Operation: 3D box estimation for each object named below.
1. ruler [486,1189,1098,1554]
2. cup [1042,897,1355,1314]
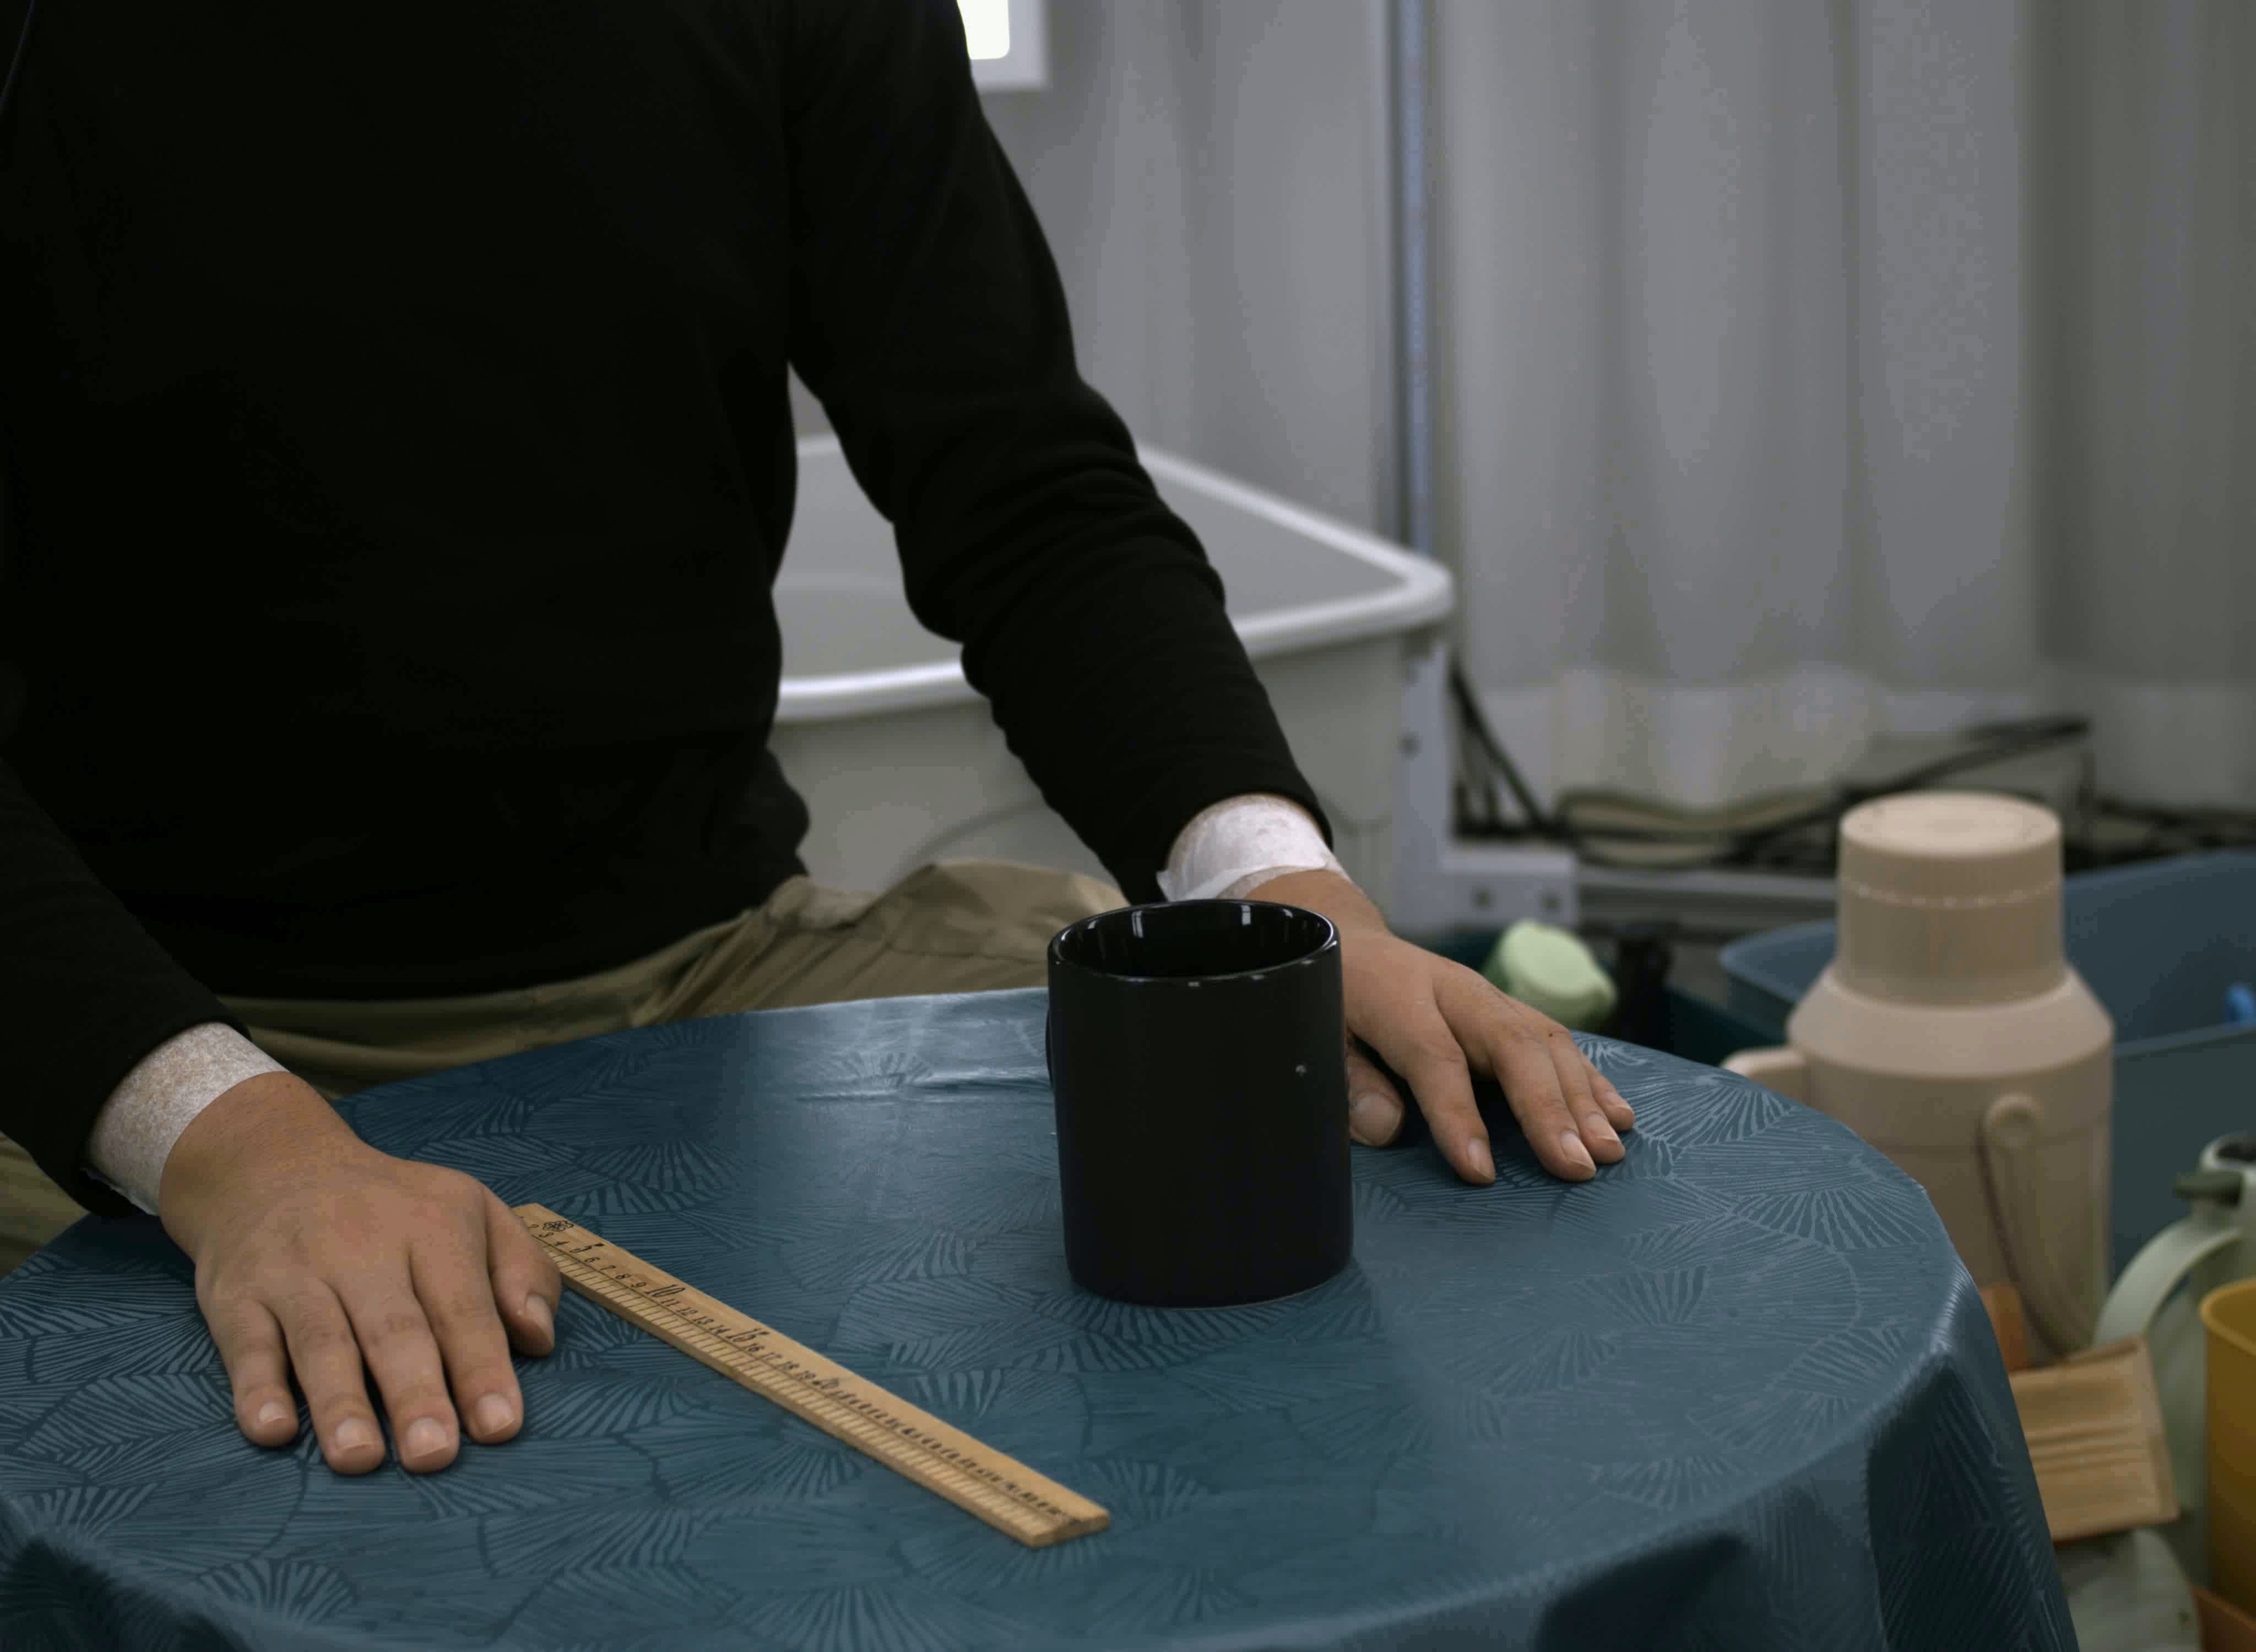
[{"bbox_3d":[-0.105,0.151,1.577,0.027,0.022,0.334,-6,15,-31],"label":"ruler"},{"bbox_3d":[0.013,0.079,1.648,0.088,0.105,0.124,-12,16,-28],"label":"cup"}]
